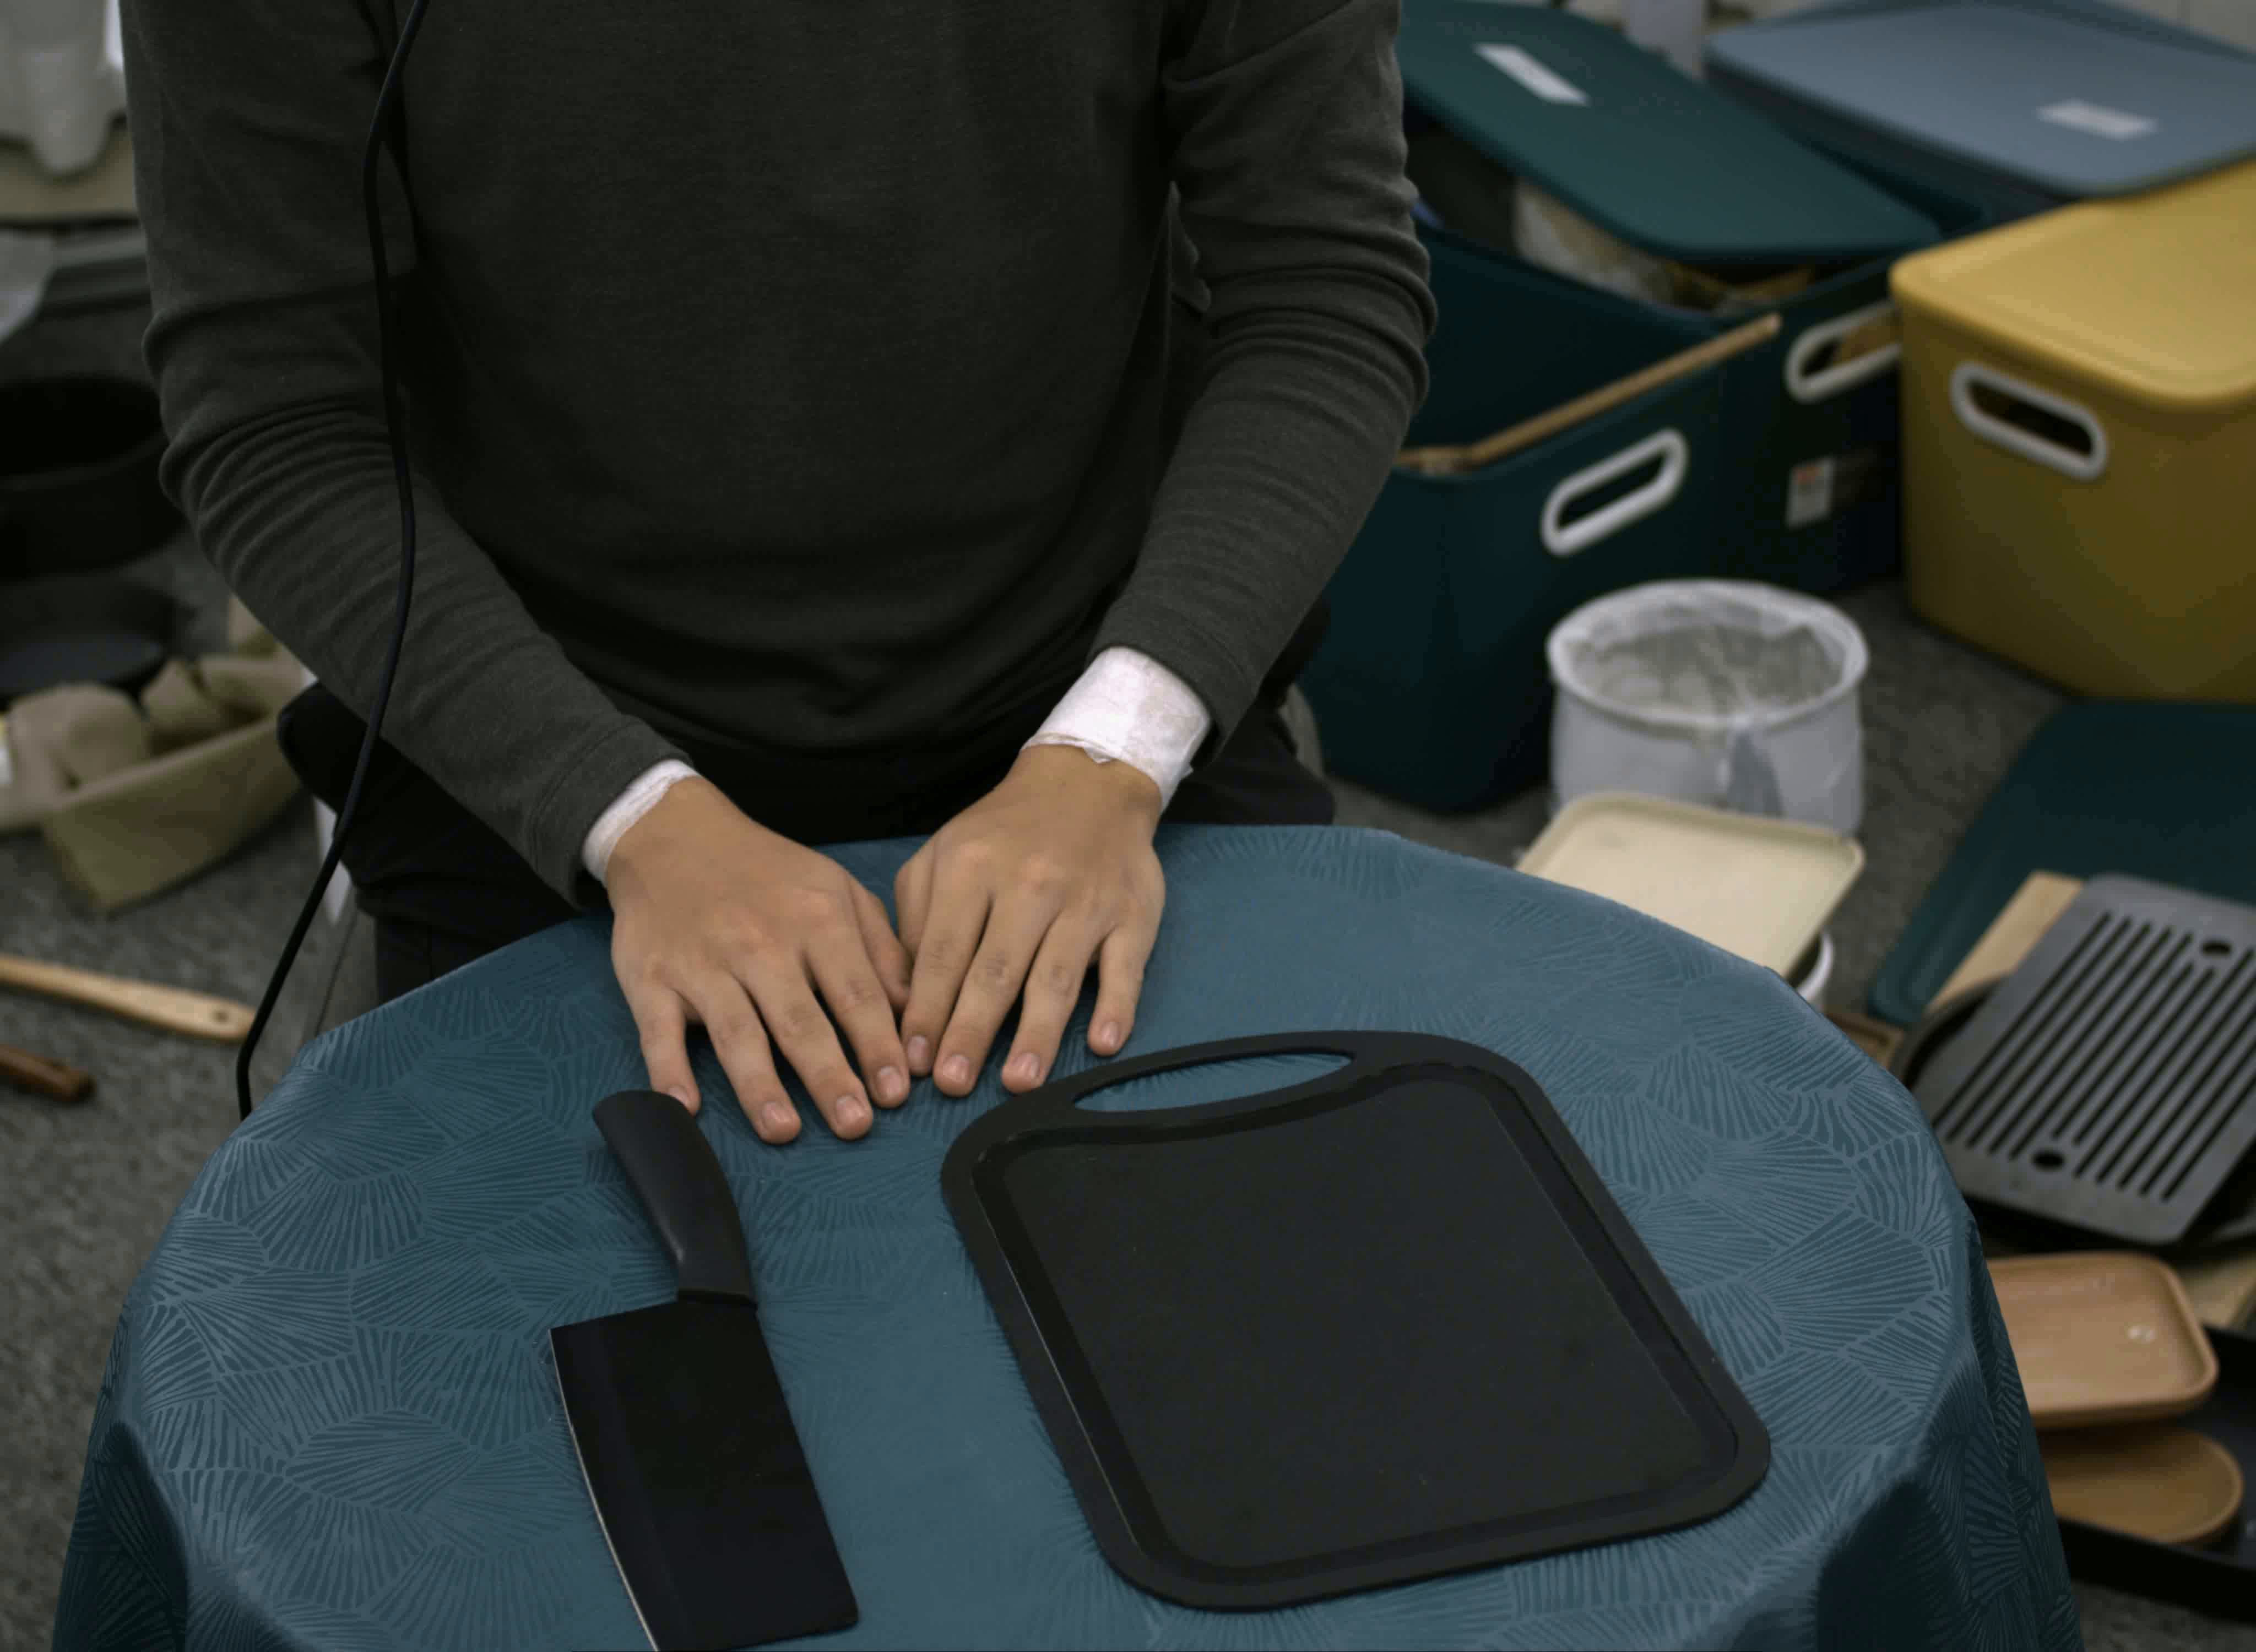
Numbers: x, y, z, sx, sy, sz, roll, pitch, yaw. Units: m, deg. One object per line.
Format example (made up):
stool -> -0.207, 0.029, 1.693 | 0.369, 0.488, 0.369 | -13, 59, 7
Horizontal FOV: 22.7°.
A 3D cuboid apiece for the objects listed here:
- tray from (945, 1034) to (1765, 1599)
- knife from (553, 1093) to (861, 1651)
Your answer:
tray -> 0.063, 0.147, 1.800 | 0.211, 0.009, 0.329 | -8, 27, -11
knife -> -0.142, 0.169, 1.769 | 0.081, 0.020, 0.306 | -8, 29, -7
